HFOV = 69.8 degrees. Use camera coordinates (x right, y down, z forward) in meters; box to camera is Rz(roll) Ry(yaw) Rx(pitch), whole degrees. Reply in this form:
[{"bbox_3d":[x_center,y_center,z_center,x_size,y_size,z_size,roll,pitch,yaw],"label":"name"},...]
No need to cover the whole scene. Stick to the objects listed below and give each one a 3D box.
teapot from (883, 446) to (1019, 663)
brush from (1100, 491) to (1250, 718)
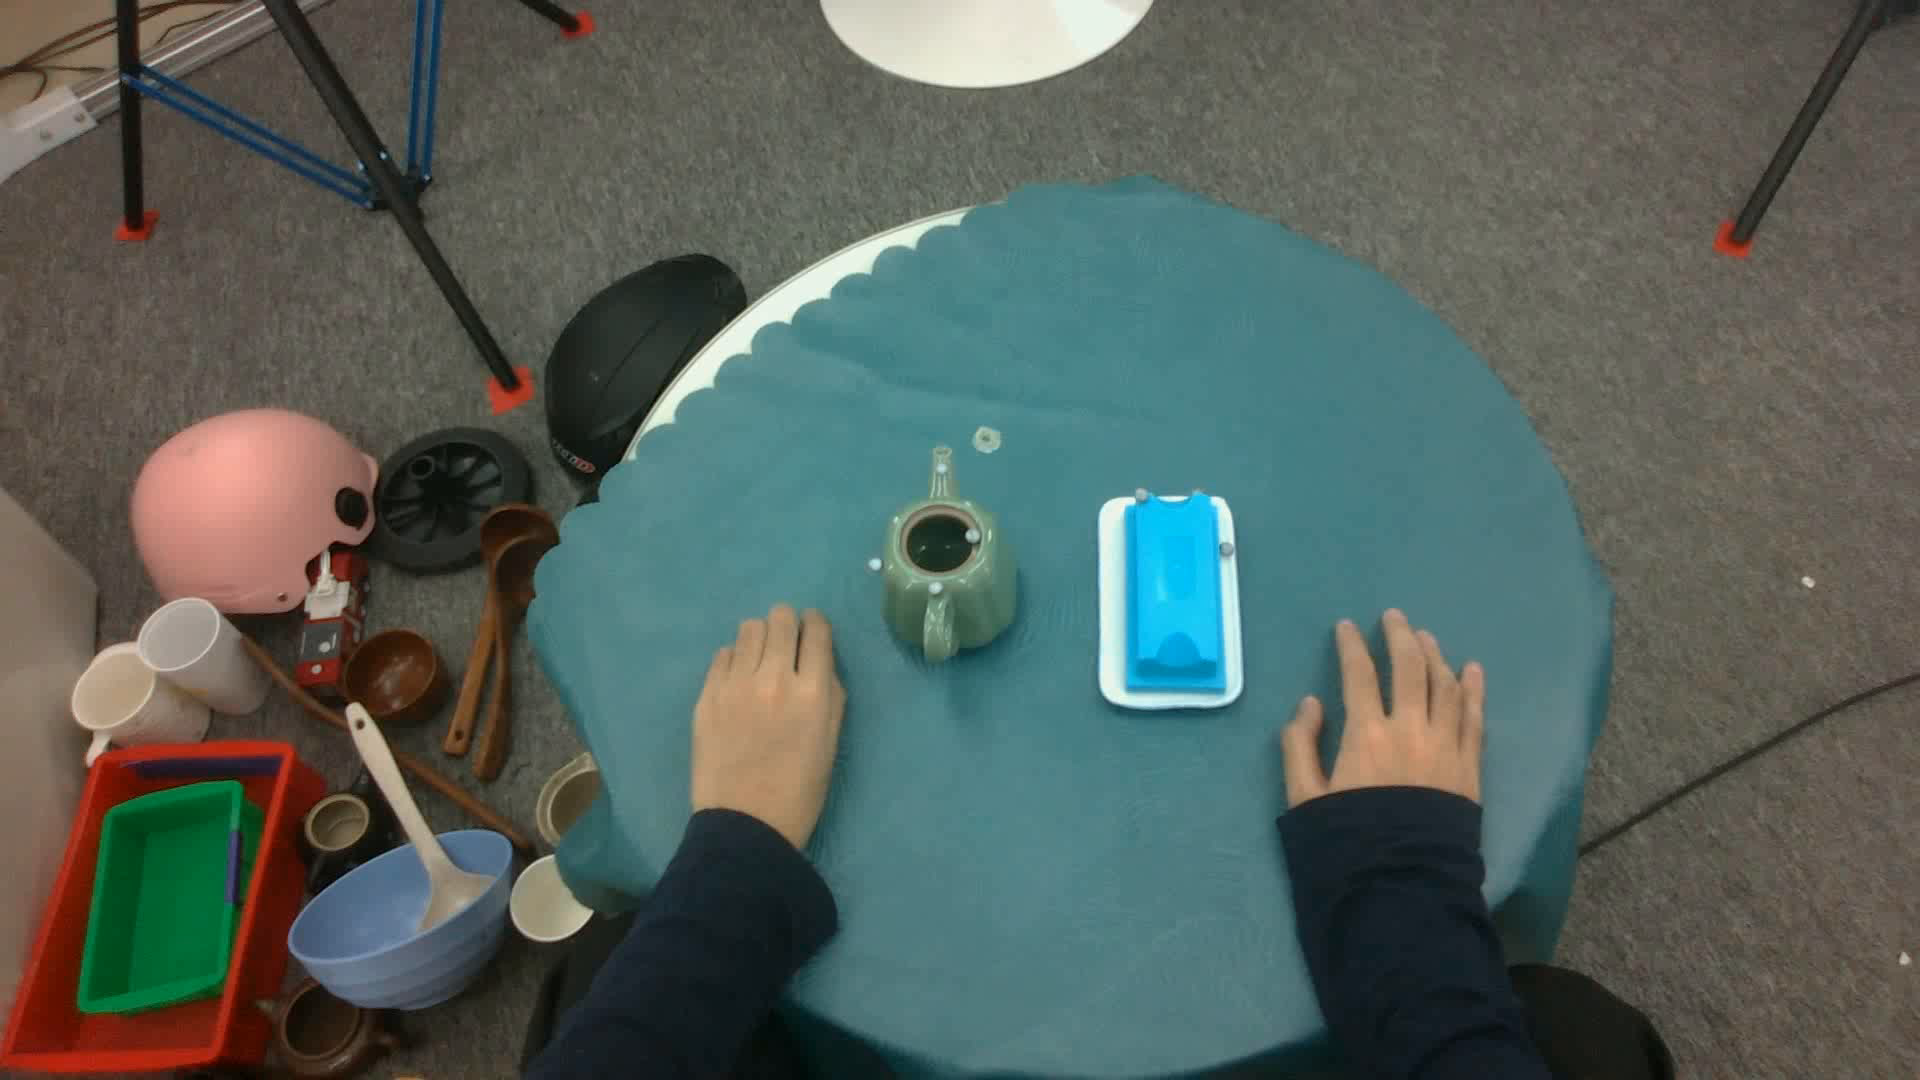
[{"bbox_3d":[-0.007,0.017,0.800,0.079,0.075,0.133,0,60,6],"label":"teapot"},{"bbox_3d":[0.123,0.029,0.786,0.084,0.055,0.144,1,57,10],"label":"brush"}]
